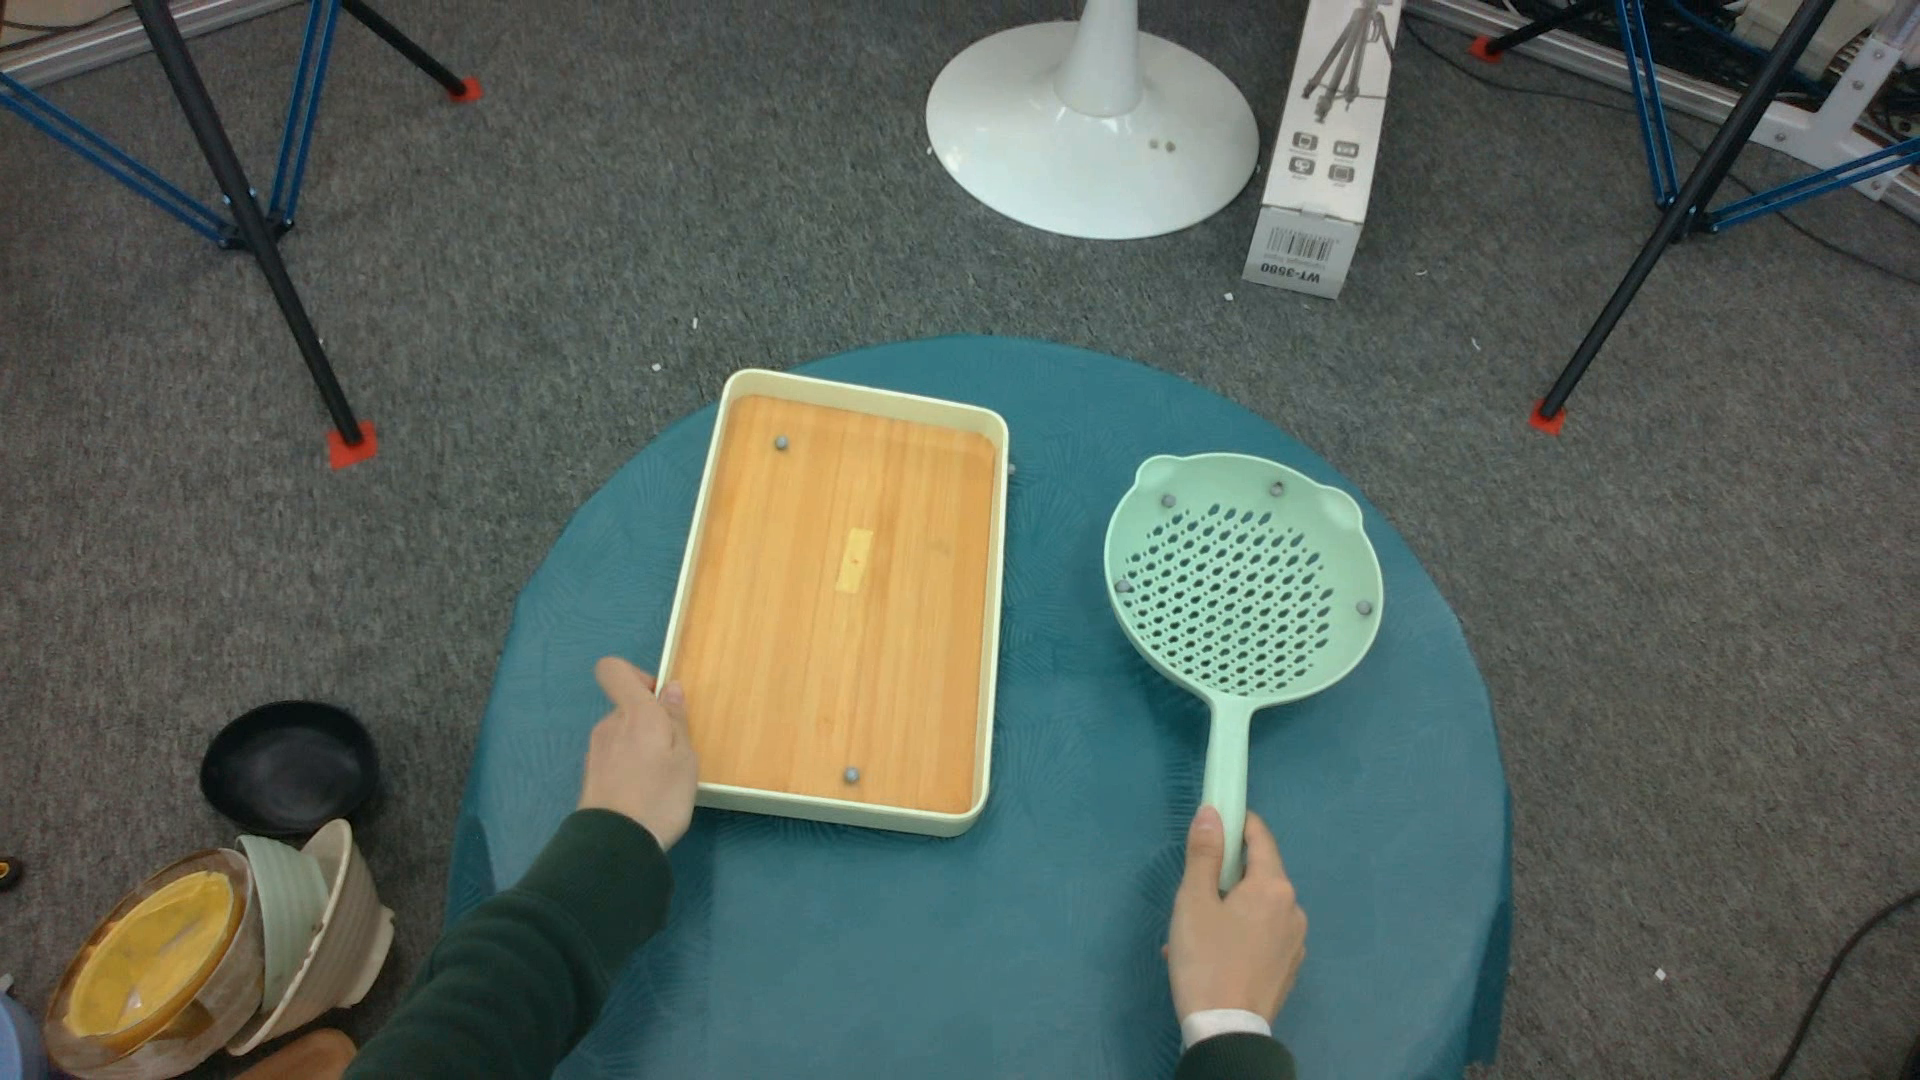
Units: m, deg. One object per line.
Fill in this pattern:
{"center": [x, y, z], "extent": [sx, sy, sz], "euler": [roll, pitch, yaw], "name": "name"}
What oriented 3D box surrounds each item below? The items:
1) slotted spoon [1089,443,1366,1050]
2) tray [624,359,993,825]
{"center": [0.143, 0.099, 0.780], "extent": [0.169, 0.075, 0.360], "euler": [11, 50, 1], "name": "slotted spoon"}
{"center": [-0.081, 0.020, 0.833], "extent": [0.191, 0.027, 0.301], "euler": [9, 53, -6], "name": "tray"}
